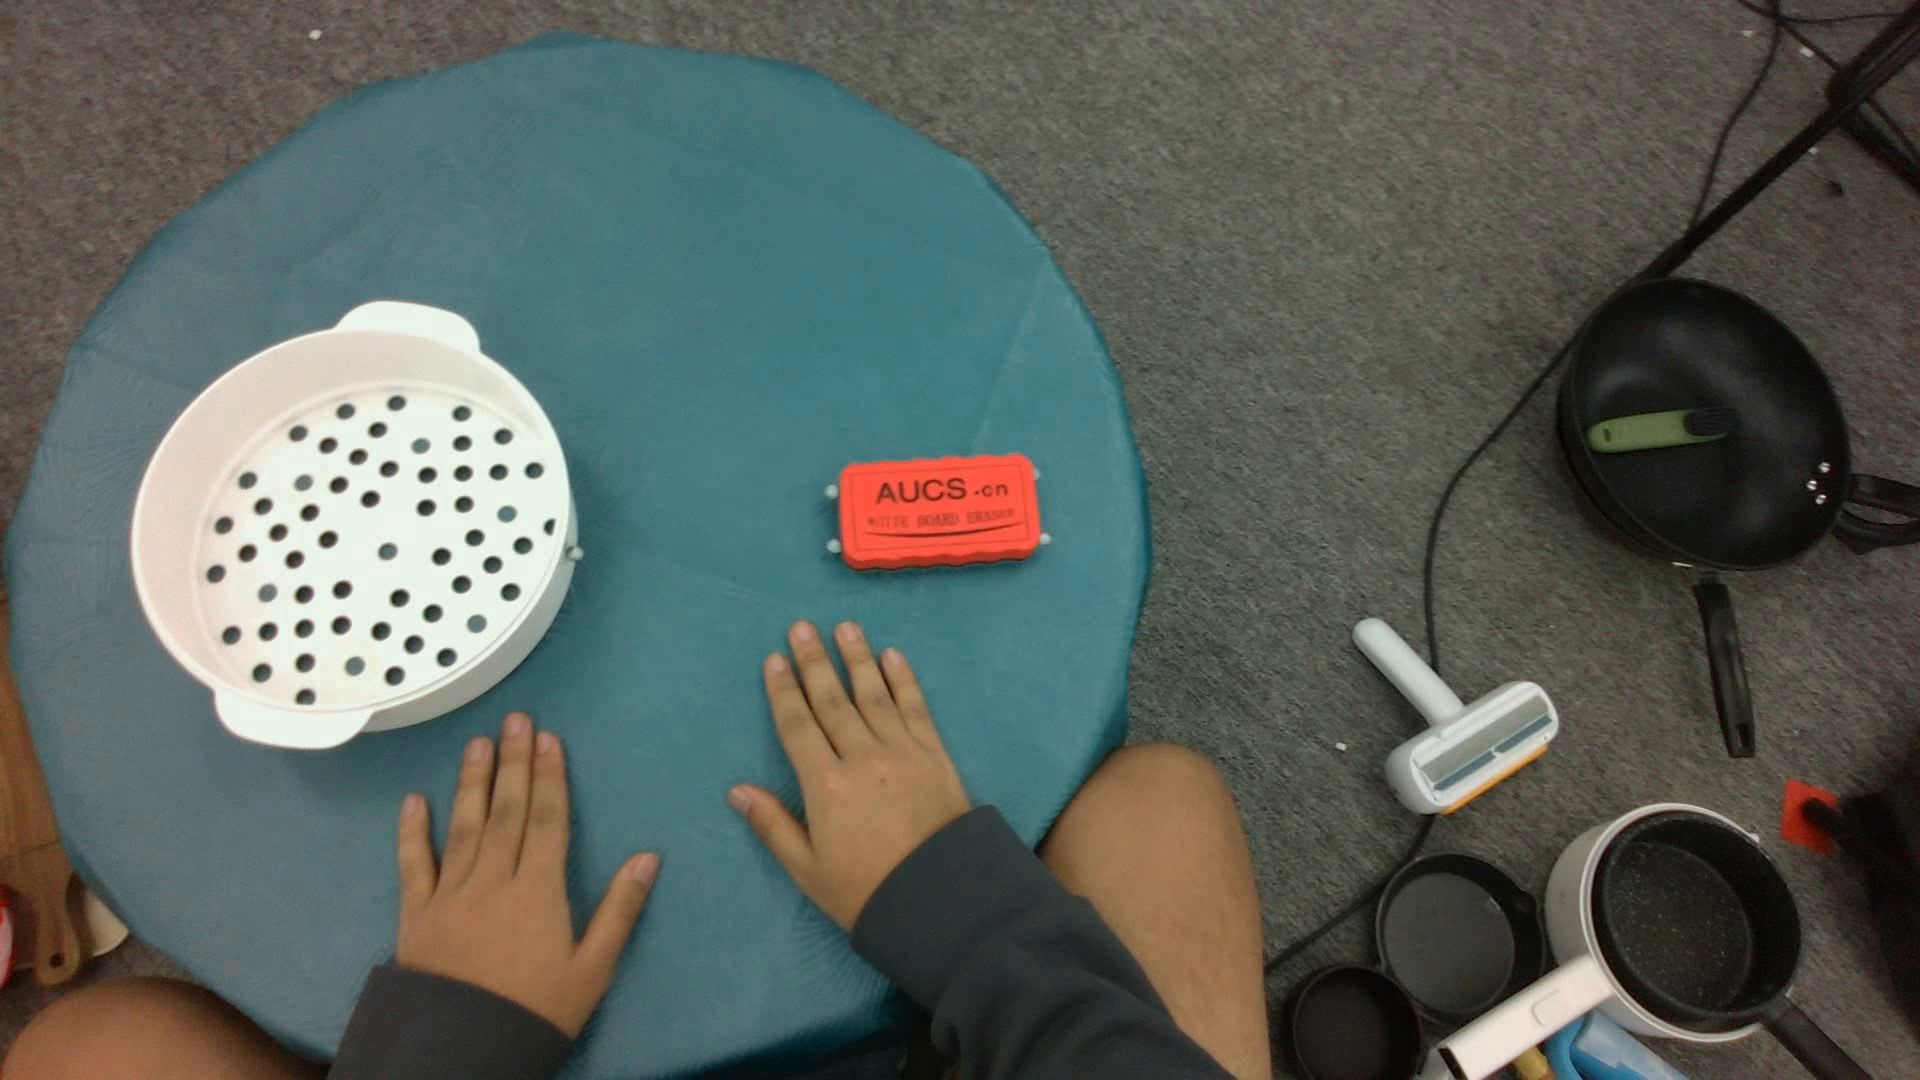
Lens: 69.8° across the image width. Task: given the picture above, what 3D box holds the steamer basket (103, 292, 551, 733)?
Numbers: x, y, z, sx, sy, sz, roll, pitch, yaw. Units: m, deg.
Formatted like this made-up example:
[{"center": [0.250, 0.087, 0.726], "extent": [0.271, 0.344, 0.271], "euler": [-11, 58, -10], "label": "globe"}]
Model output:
[{"center": [-0.312, -0.011, 0.697], "extent": [0.202, 0.069, 0.231], "euler": [7, 69, -5], "label": "steamer basket"}]

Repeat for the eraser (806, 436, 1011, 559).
[{"center": [-0.028, -0.023, 0.756], "extent": [0.108, 0.023, 0.059], "euler": [-5, 77, -11], "label": "eraser"}]
